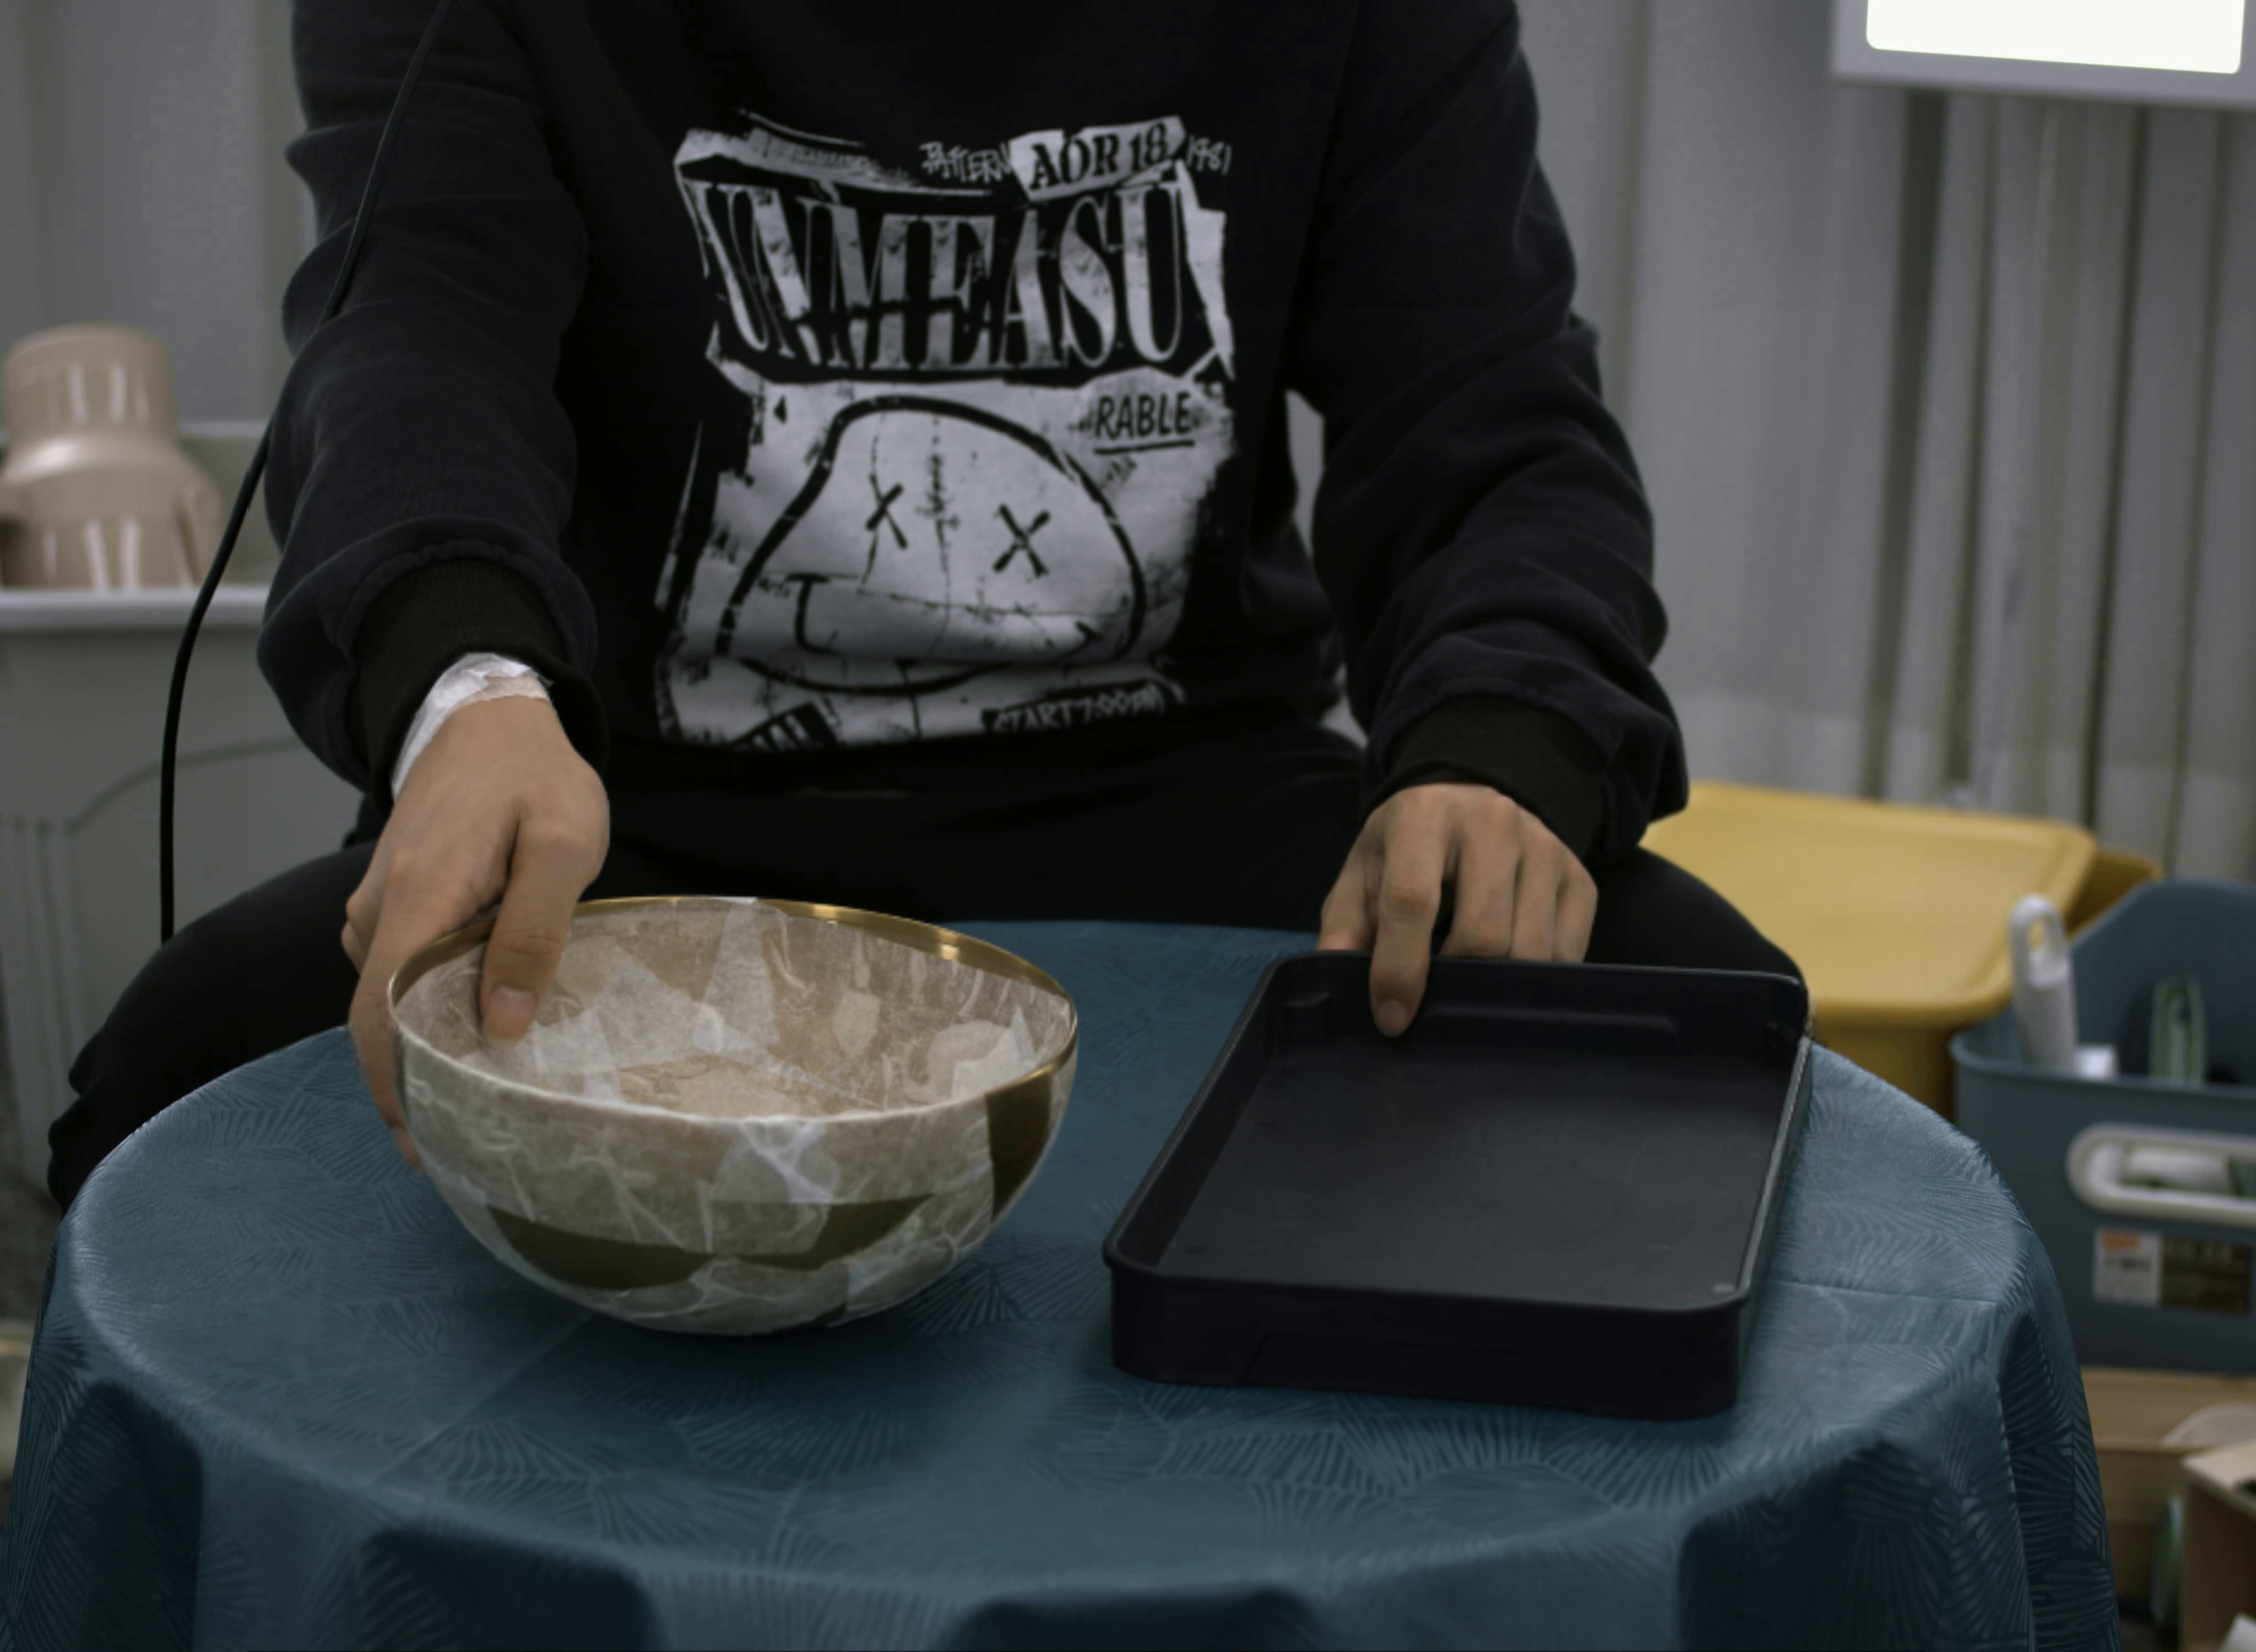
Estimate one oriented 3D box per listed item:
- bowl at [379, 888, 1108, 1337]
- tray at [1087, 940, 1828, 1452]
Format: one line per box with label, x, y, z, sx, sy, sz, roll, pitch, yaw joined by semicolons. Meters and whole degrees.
bowl;-0.112;0.091;1.522;0.214;0.095;0.213;3;17;0
tray;0.108;0.105;1.601;0.183;0.037;0.317;5;18;12
